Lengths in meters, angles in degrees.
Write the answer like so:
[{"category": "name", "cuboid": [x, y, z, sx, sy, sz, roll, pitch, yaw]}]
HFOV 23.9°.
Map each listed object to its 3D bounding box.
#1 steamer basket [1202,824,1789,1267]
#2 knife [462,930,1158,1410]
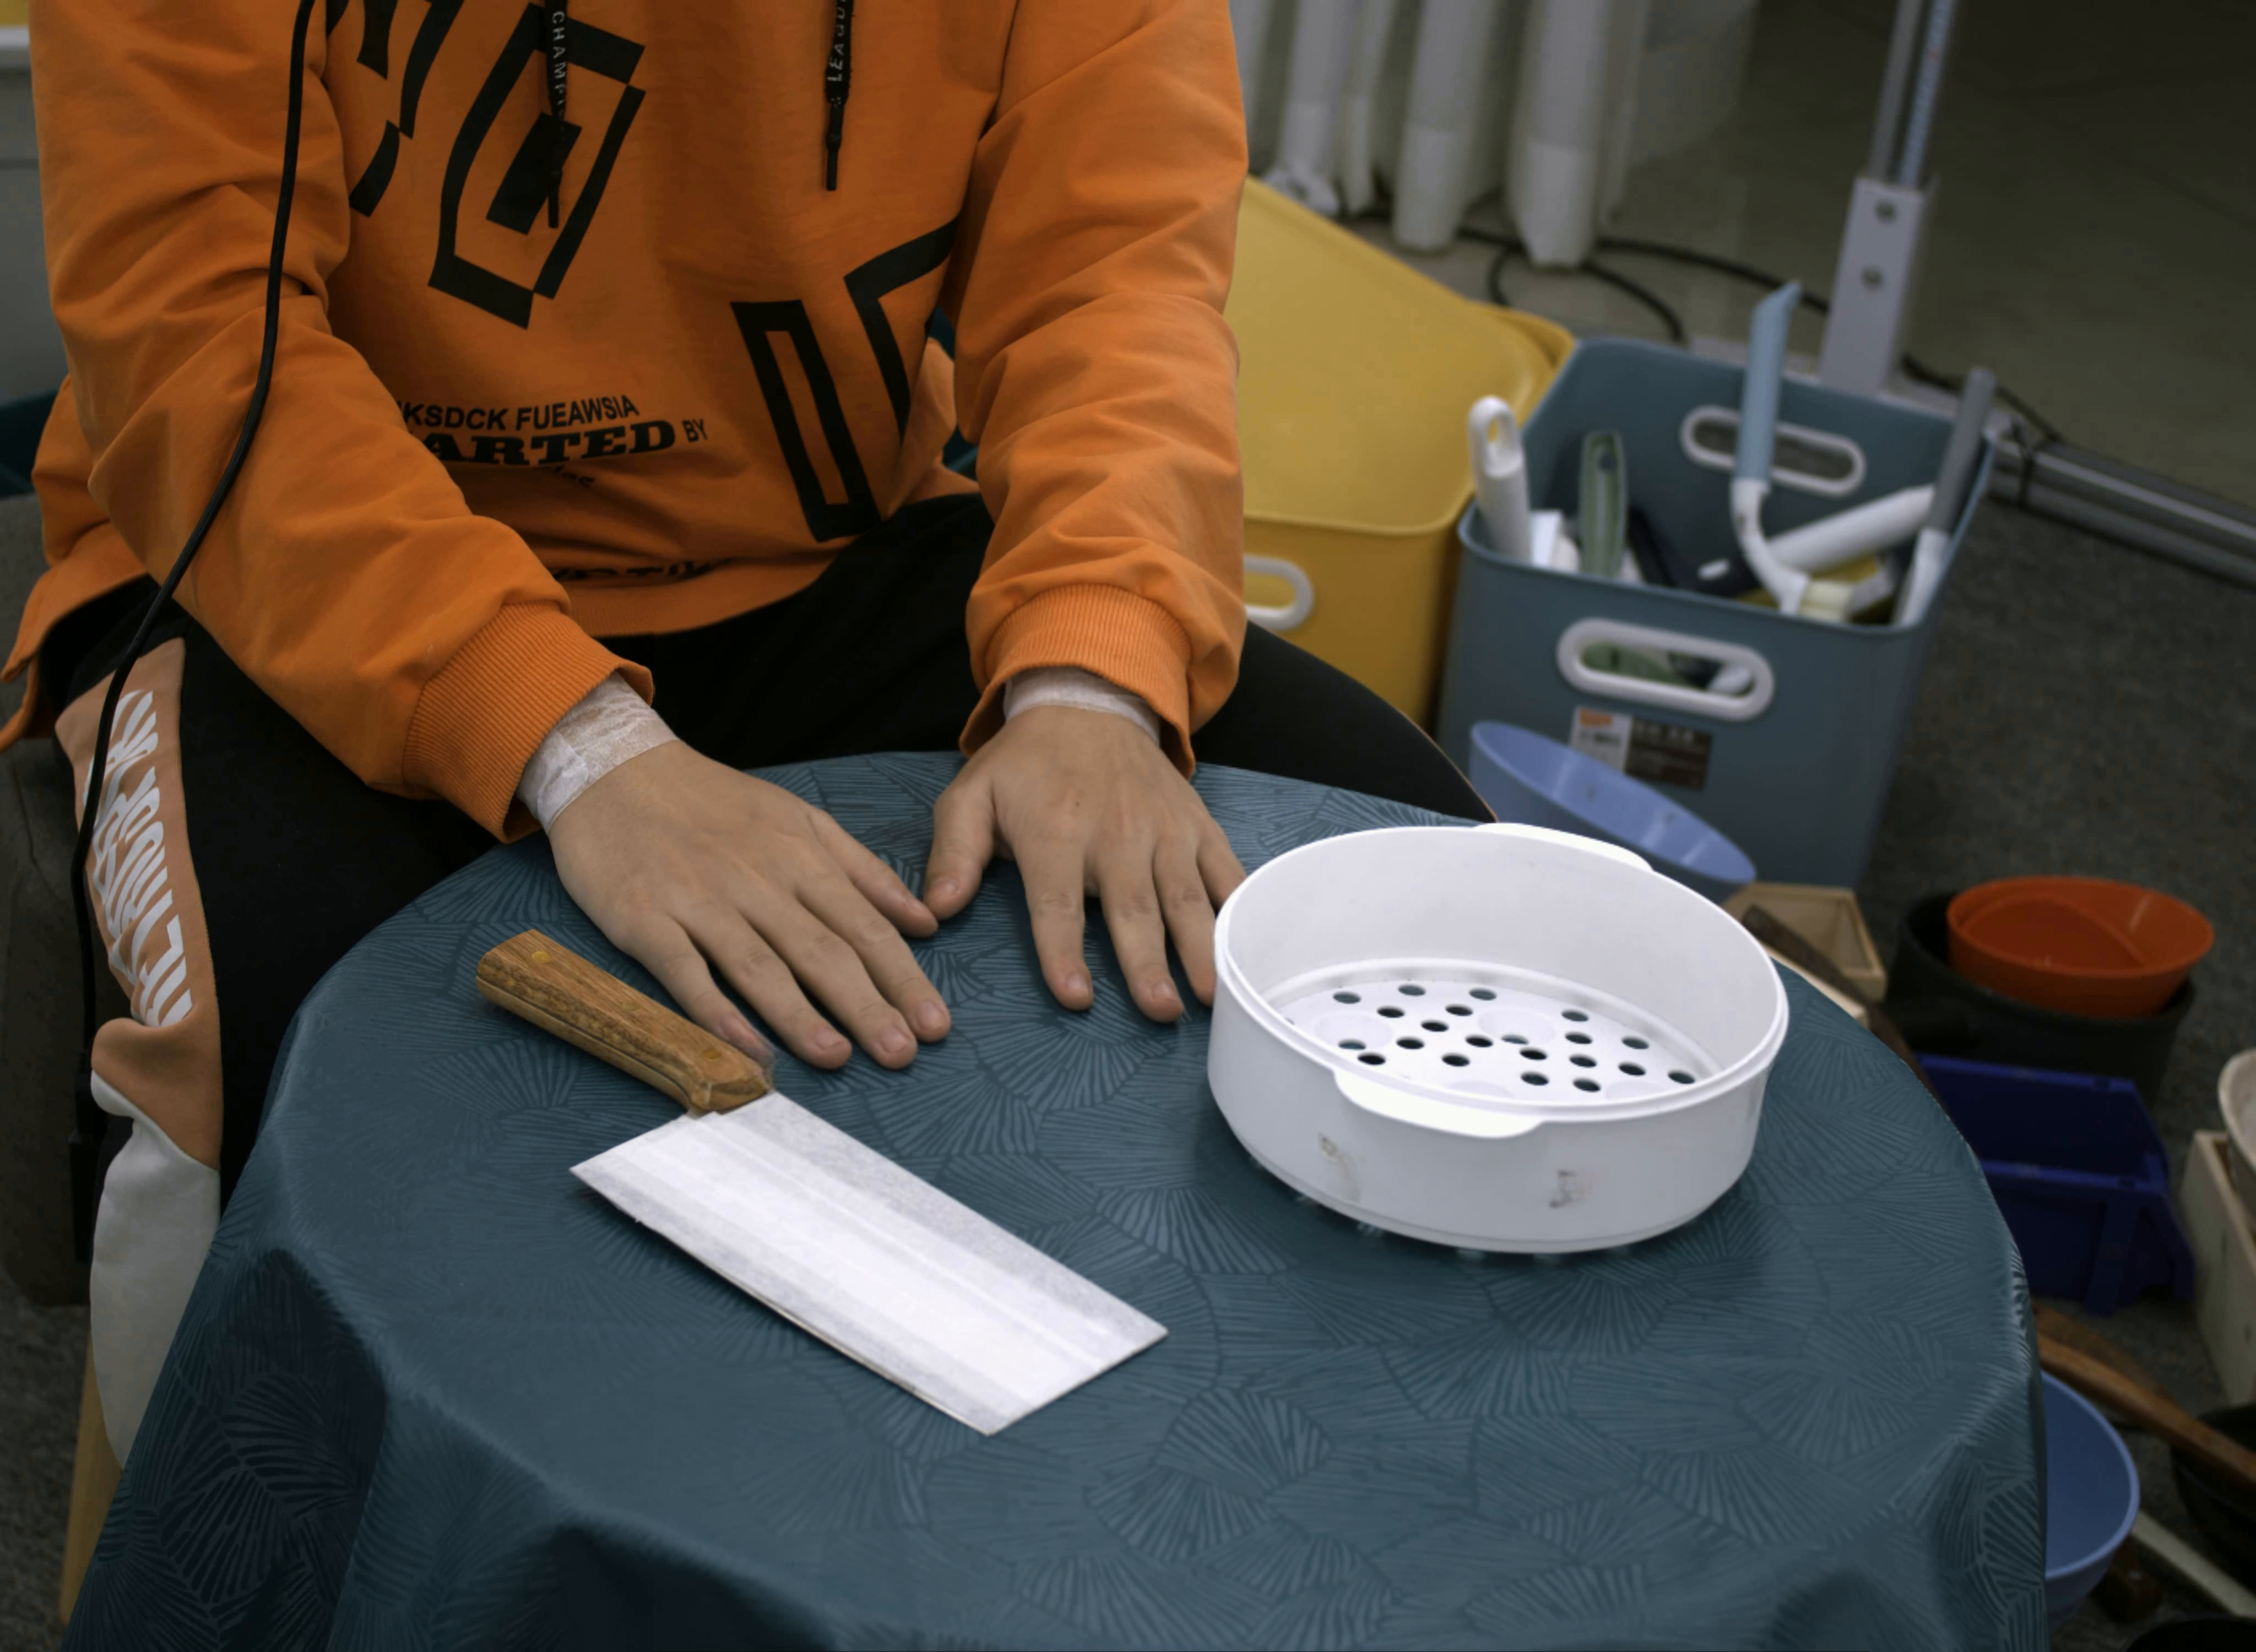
[{"category": "steamer basket", "cuboid": [0.125, 0.077, 1.846, 0.202, 0.069, 0.231, 12, 29, 12]}, {"category": "knife", "cuboid": [-0.128, 0.115, 1.774, 0.308, 0.021, 0.092, 29, 36, 32]}]
